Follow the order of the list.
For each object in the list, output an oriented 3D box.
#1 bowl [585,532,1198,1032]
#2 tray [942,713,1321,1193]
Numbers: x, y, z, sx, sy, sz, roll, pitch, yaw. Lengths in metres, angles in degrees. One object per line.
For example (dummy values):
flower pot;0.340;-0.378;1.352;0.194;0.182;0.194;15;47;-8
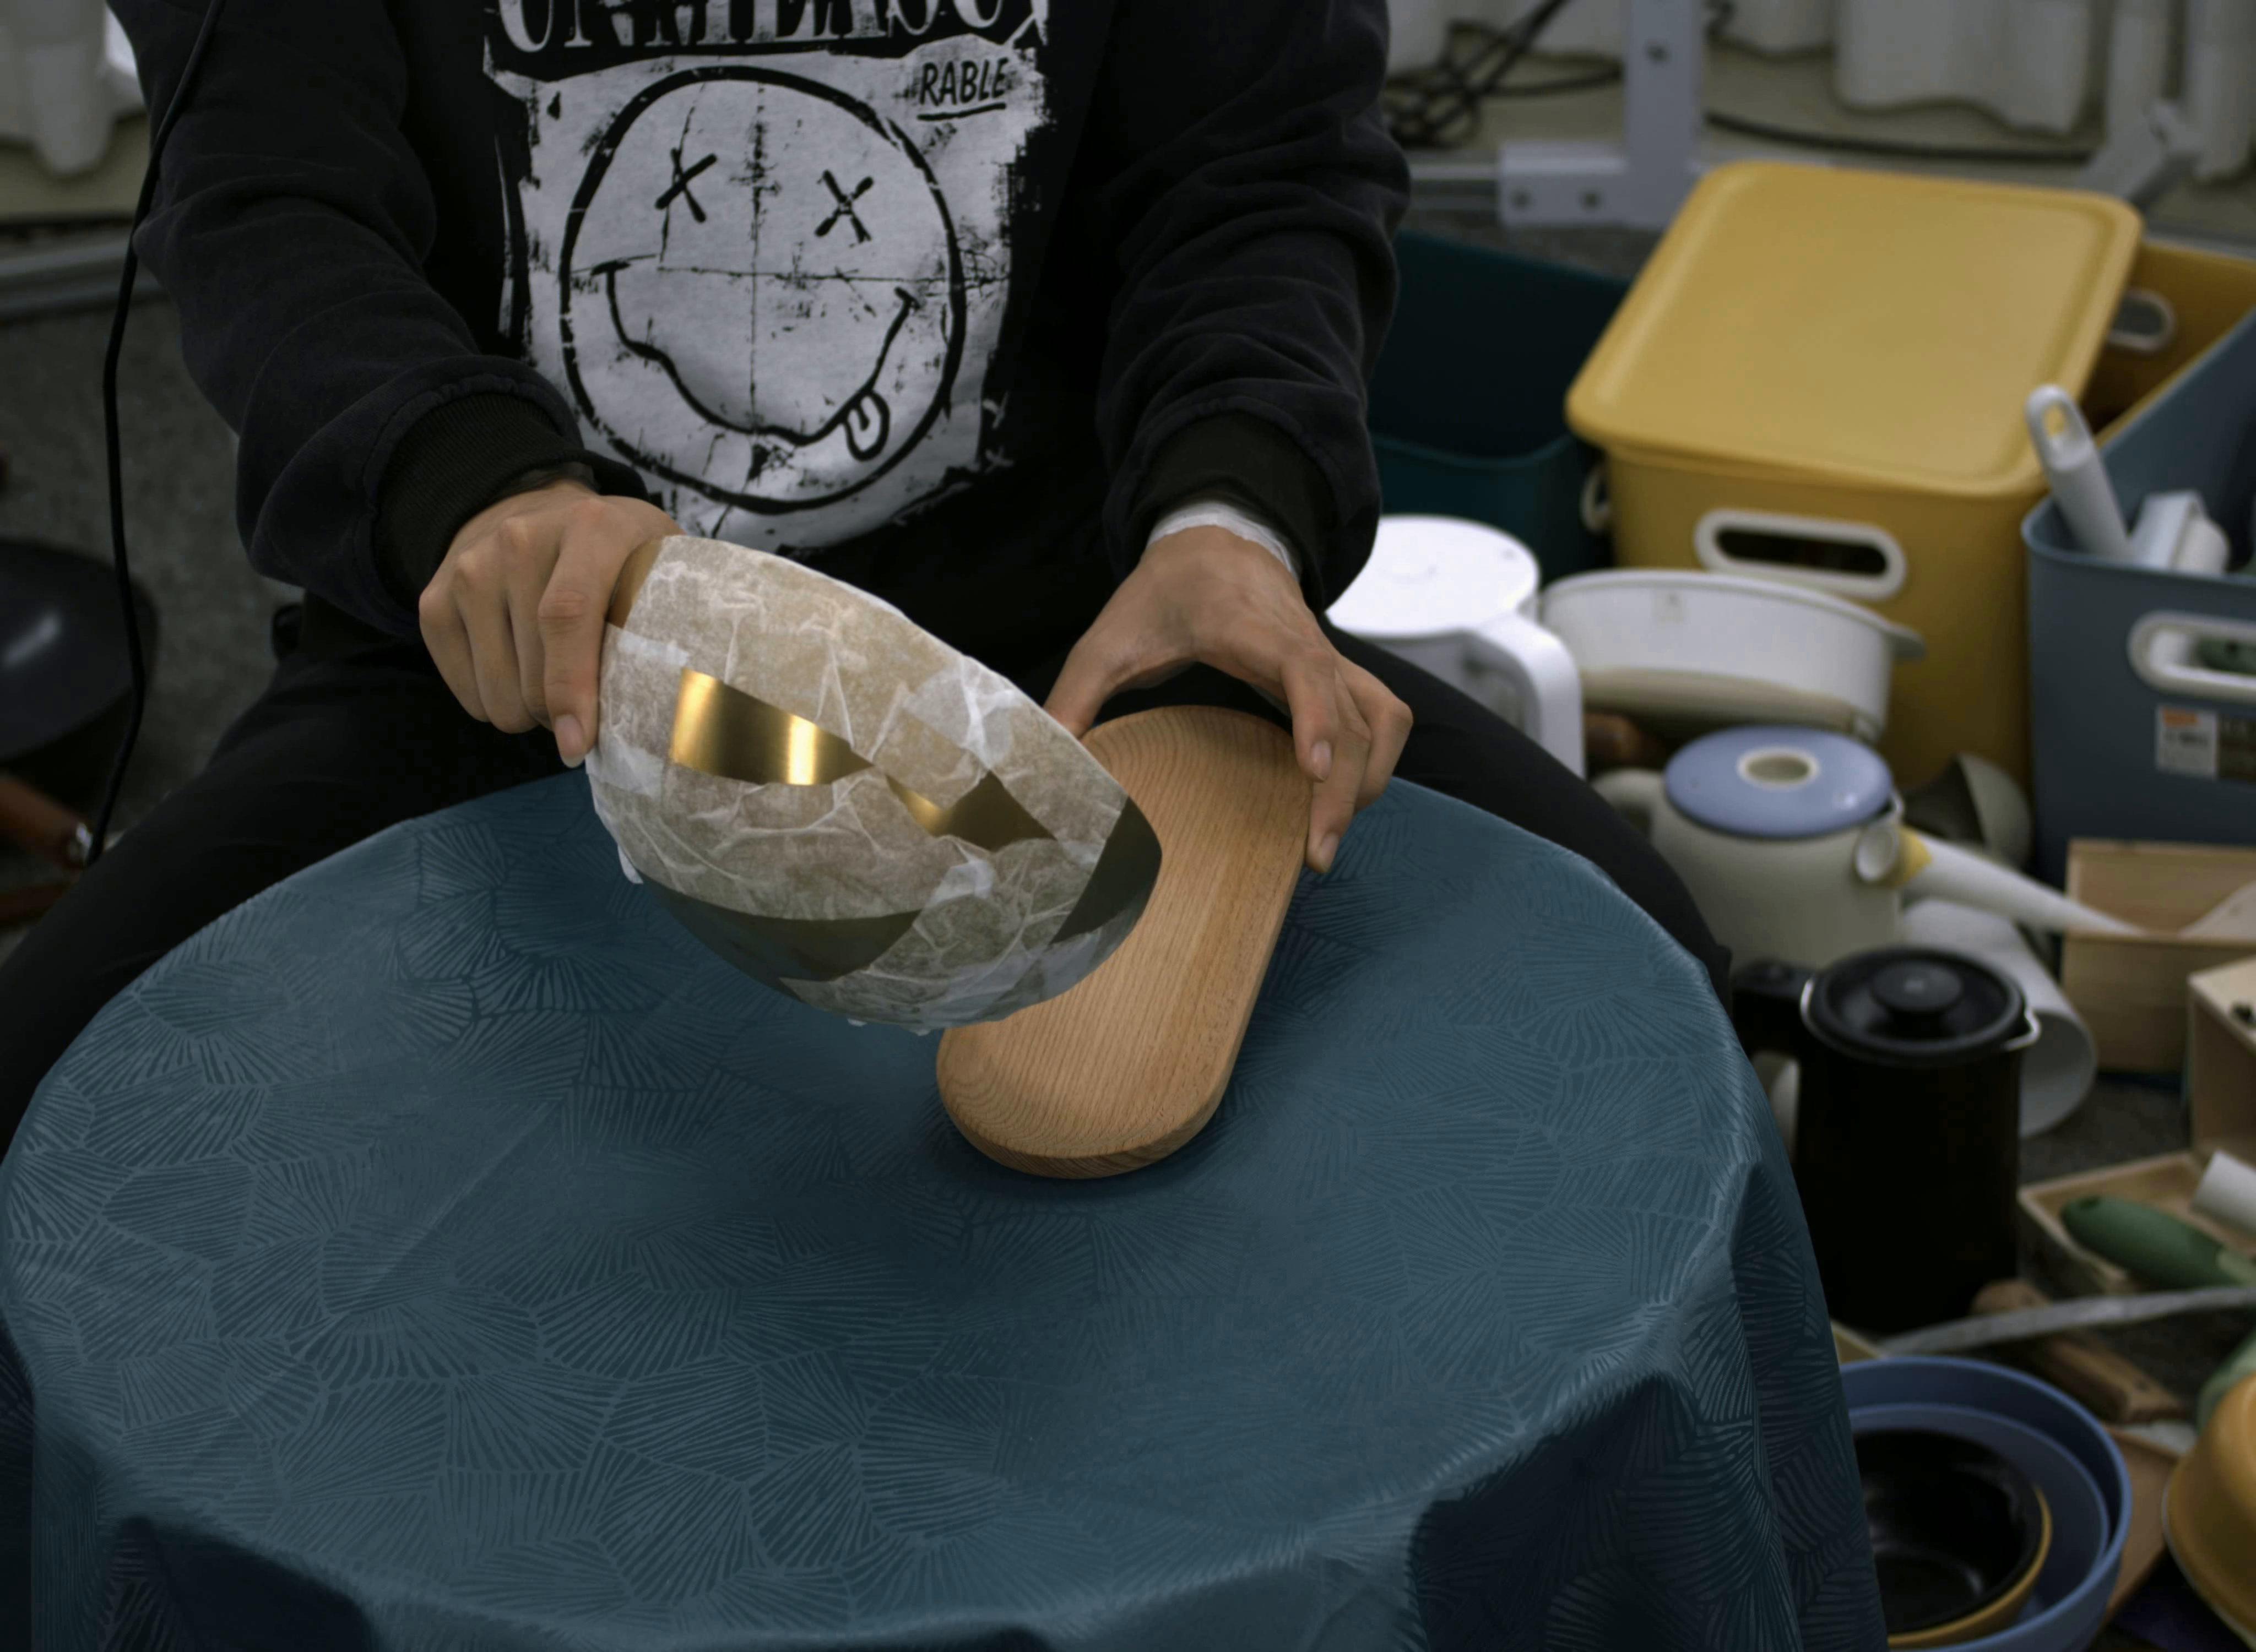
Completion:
bowl;-0.093;0.005;1.784;0.214;0.212;0.096;18;68;35
tray;0.003;0.042;1.945;0.101;0.020;0.236;4;43;14
